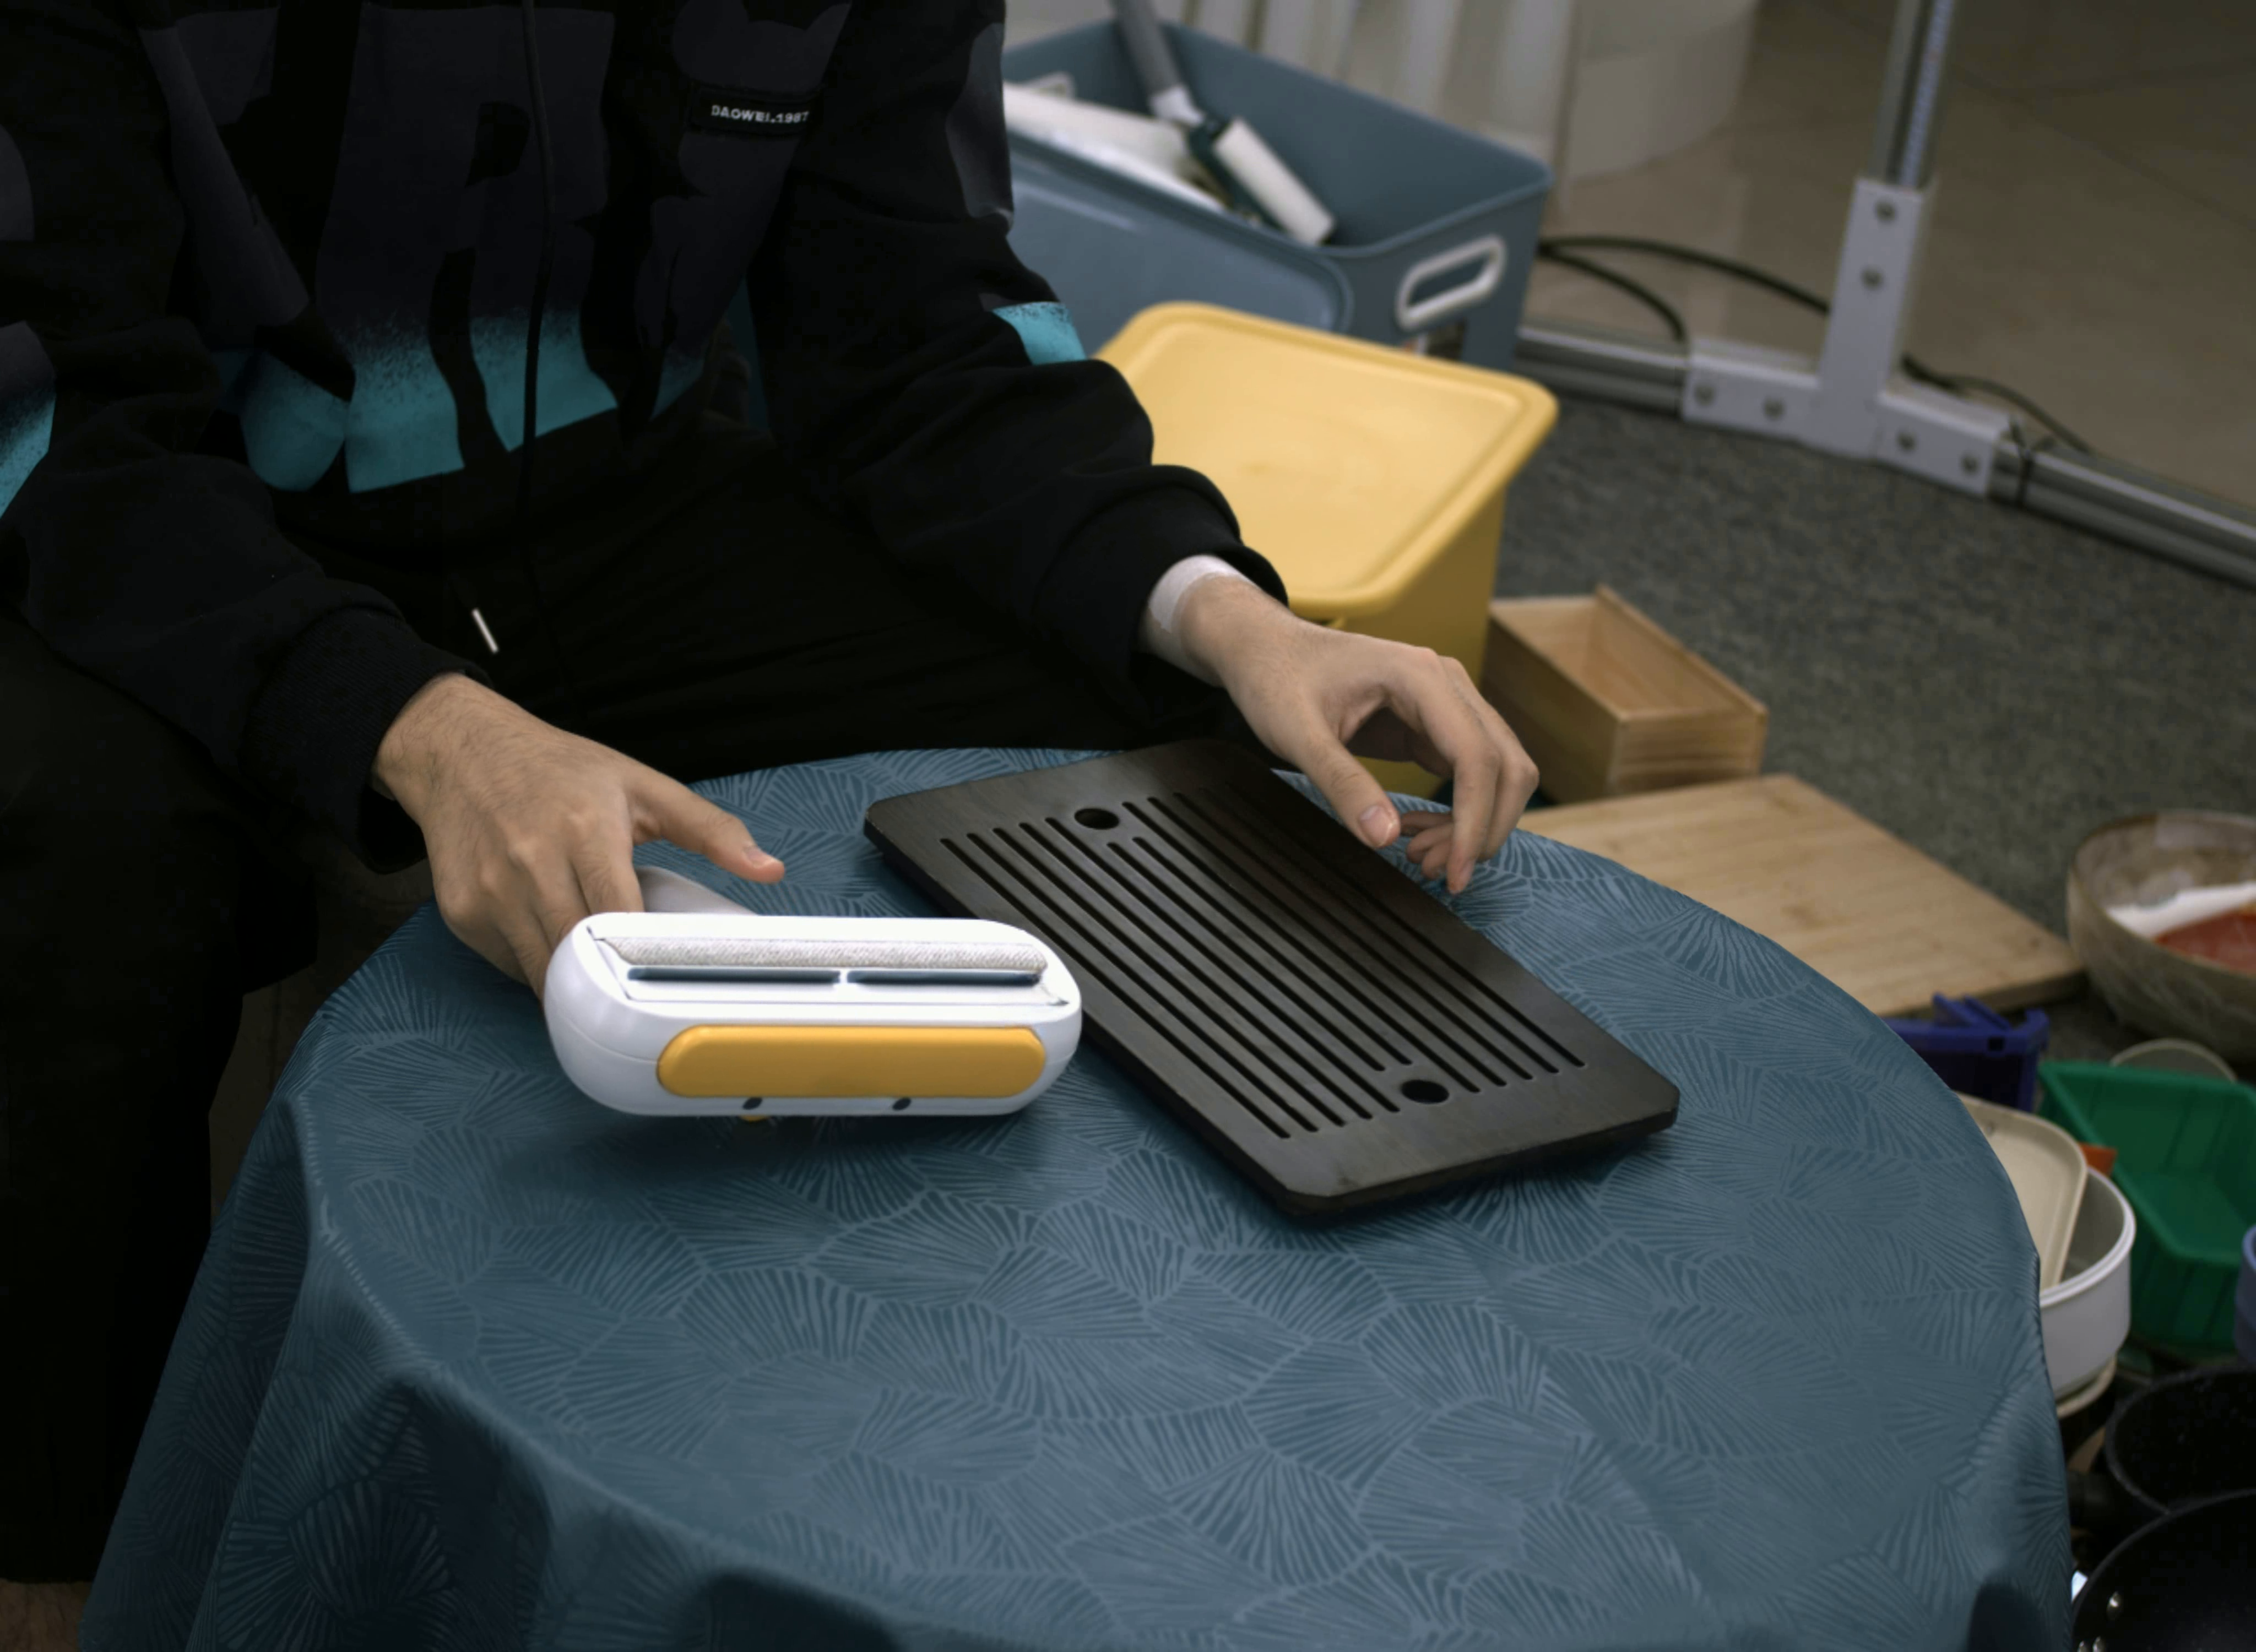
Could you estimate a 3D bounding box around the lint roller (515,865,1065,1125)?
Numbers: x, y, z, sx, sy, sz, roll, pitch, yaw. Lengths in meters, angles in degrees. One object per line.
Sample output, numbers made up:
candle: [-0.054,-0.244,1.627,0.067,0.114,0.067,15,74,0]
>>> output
lint roller: [-0.137,0.046,1.848,0.191,0.074,0.194,-1,25,-25]

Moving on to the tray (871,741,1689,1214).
tray: [0.050,0.052,1.932,0.169,0.018,0.309,-11,32,-31]
